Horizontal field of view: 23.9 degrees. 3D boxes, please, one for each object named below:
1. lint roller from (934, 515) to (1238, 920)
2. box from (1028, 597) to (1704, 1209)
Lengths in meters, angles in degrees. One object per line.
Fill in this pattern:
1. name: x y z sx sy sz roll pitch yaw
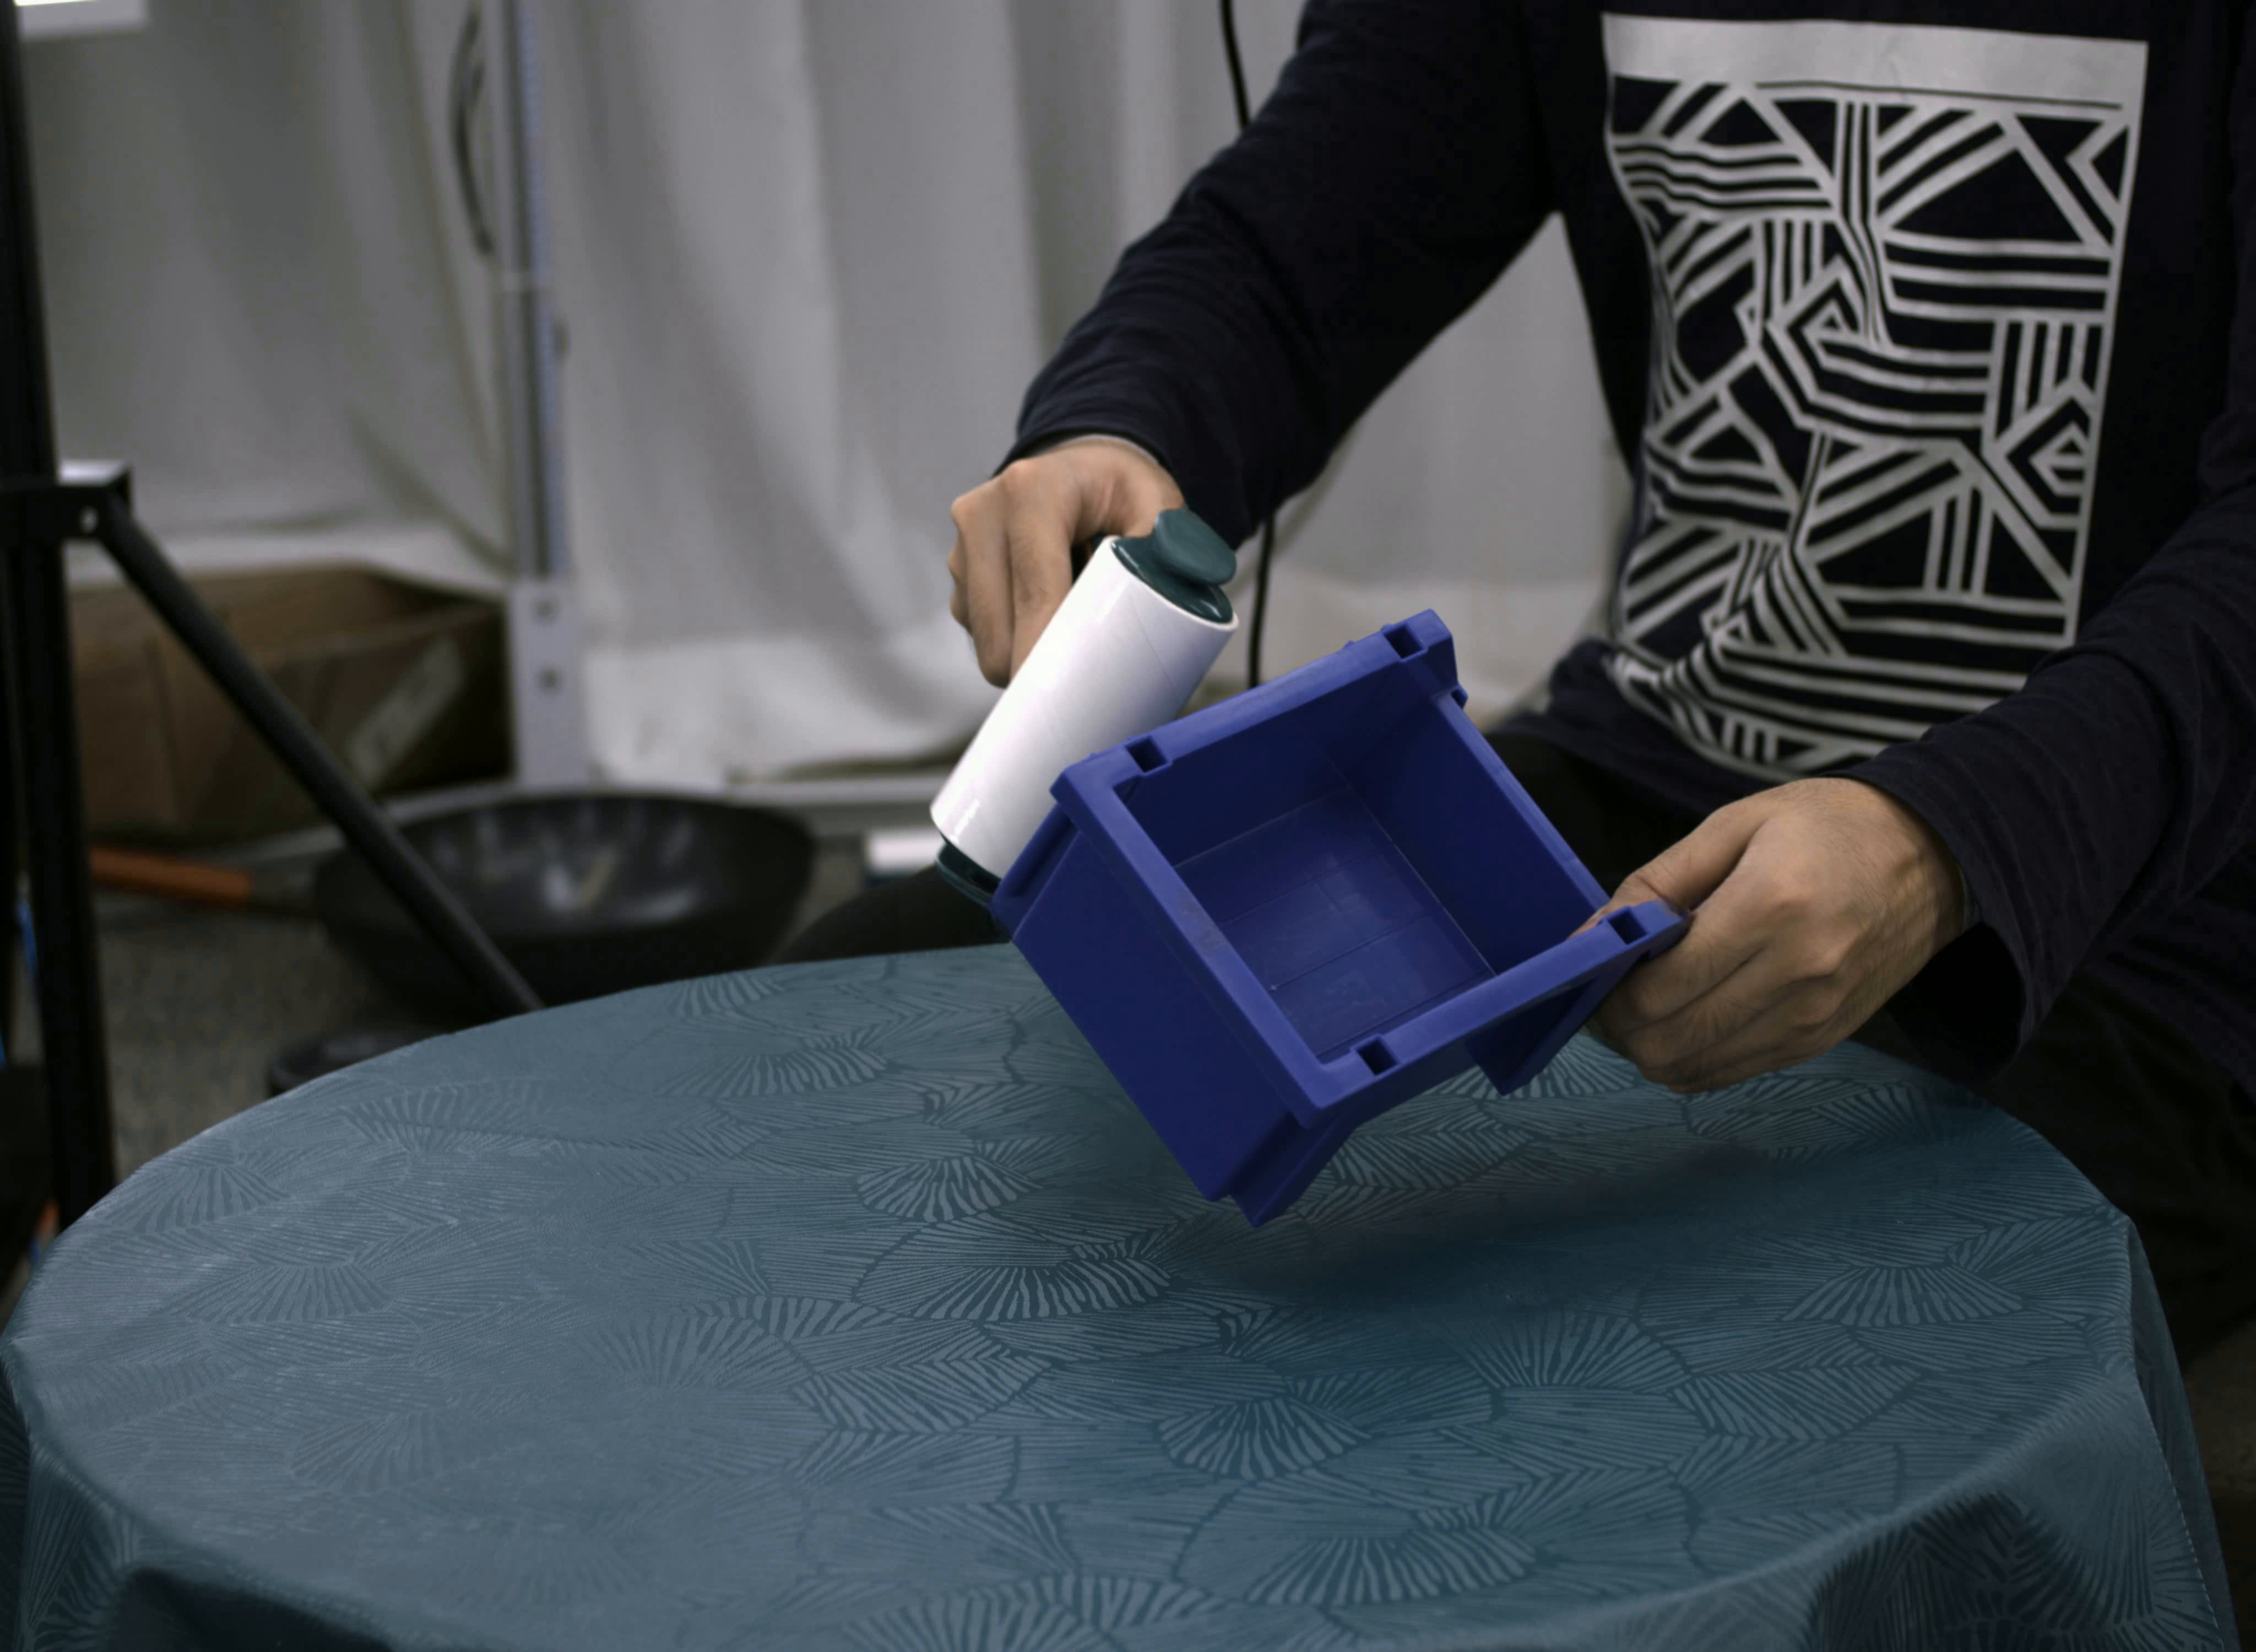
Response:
1. lint roller: -0.018 -0.056 1.645 0.047 0.135 0.182 28 17 -16
2. box: 0.071 0.018 1.517 0.176 0.082 0.126 -23 67 -34
